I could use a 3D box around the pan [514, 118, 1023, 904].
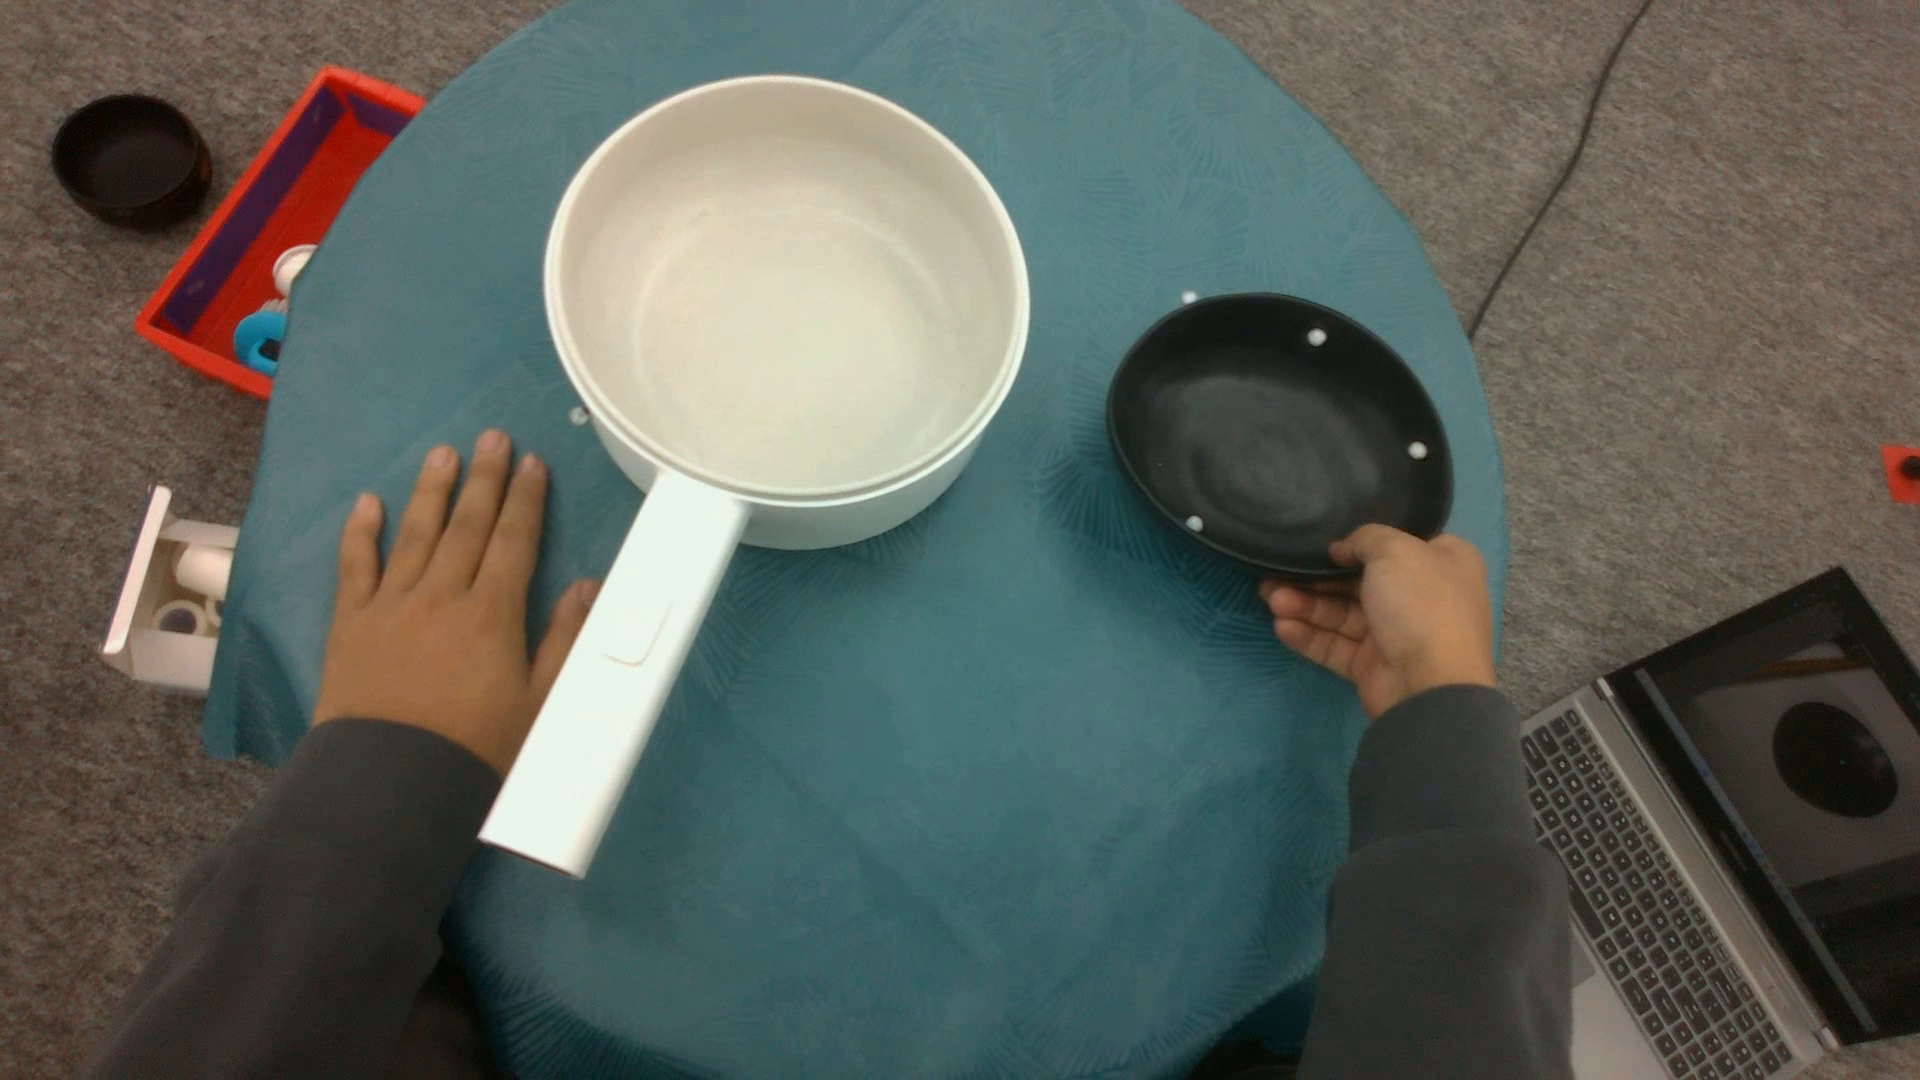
[{"bbox_3d":[-0.100,-0.015,0.617,0.201,0.102,0.356,19,72,-2],"label":"pan"}]

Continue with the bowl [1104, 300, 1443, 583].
[{"bbox_3d":[0.148,-0.040,0.670,0.170,0.066,0.138,14,70,-4],"label":"bowl"}]
